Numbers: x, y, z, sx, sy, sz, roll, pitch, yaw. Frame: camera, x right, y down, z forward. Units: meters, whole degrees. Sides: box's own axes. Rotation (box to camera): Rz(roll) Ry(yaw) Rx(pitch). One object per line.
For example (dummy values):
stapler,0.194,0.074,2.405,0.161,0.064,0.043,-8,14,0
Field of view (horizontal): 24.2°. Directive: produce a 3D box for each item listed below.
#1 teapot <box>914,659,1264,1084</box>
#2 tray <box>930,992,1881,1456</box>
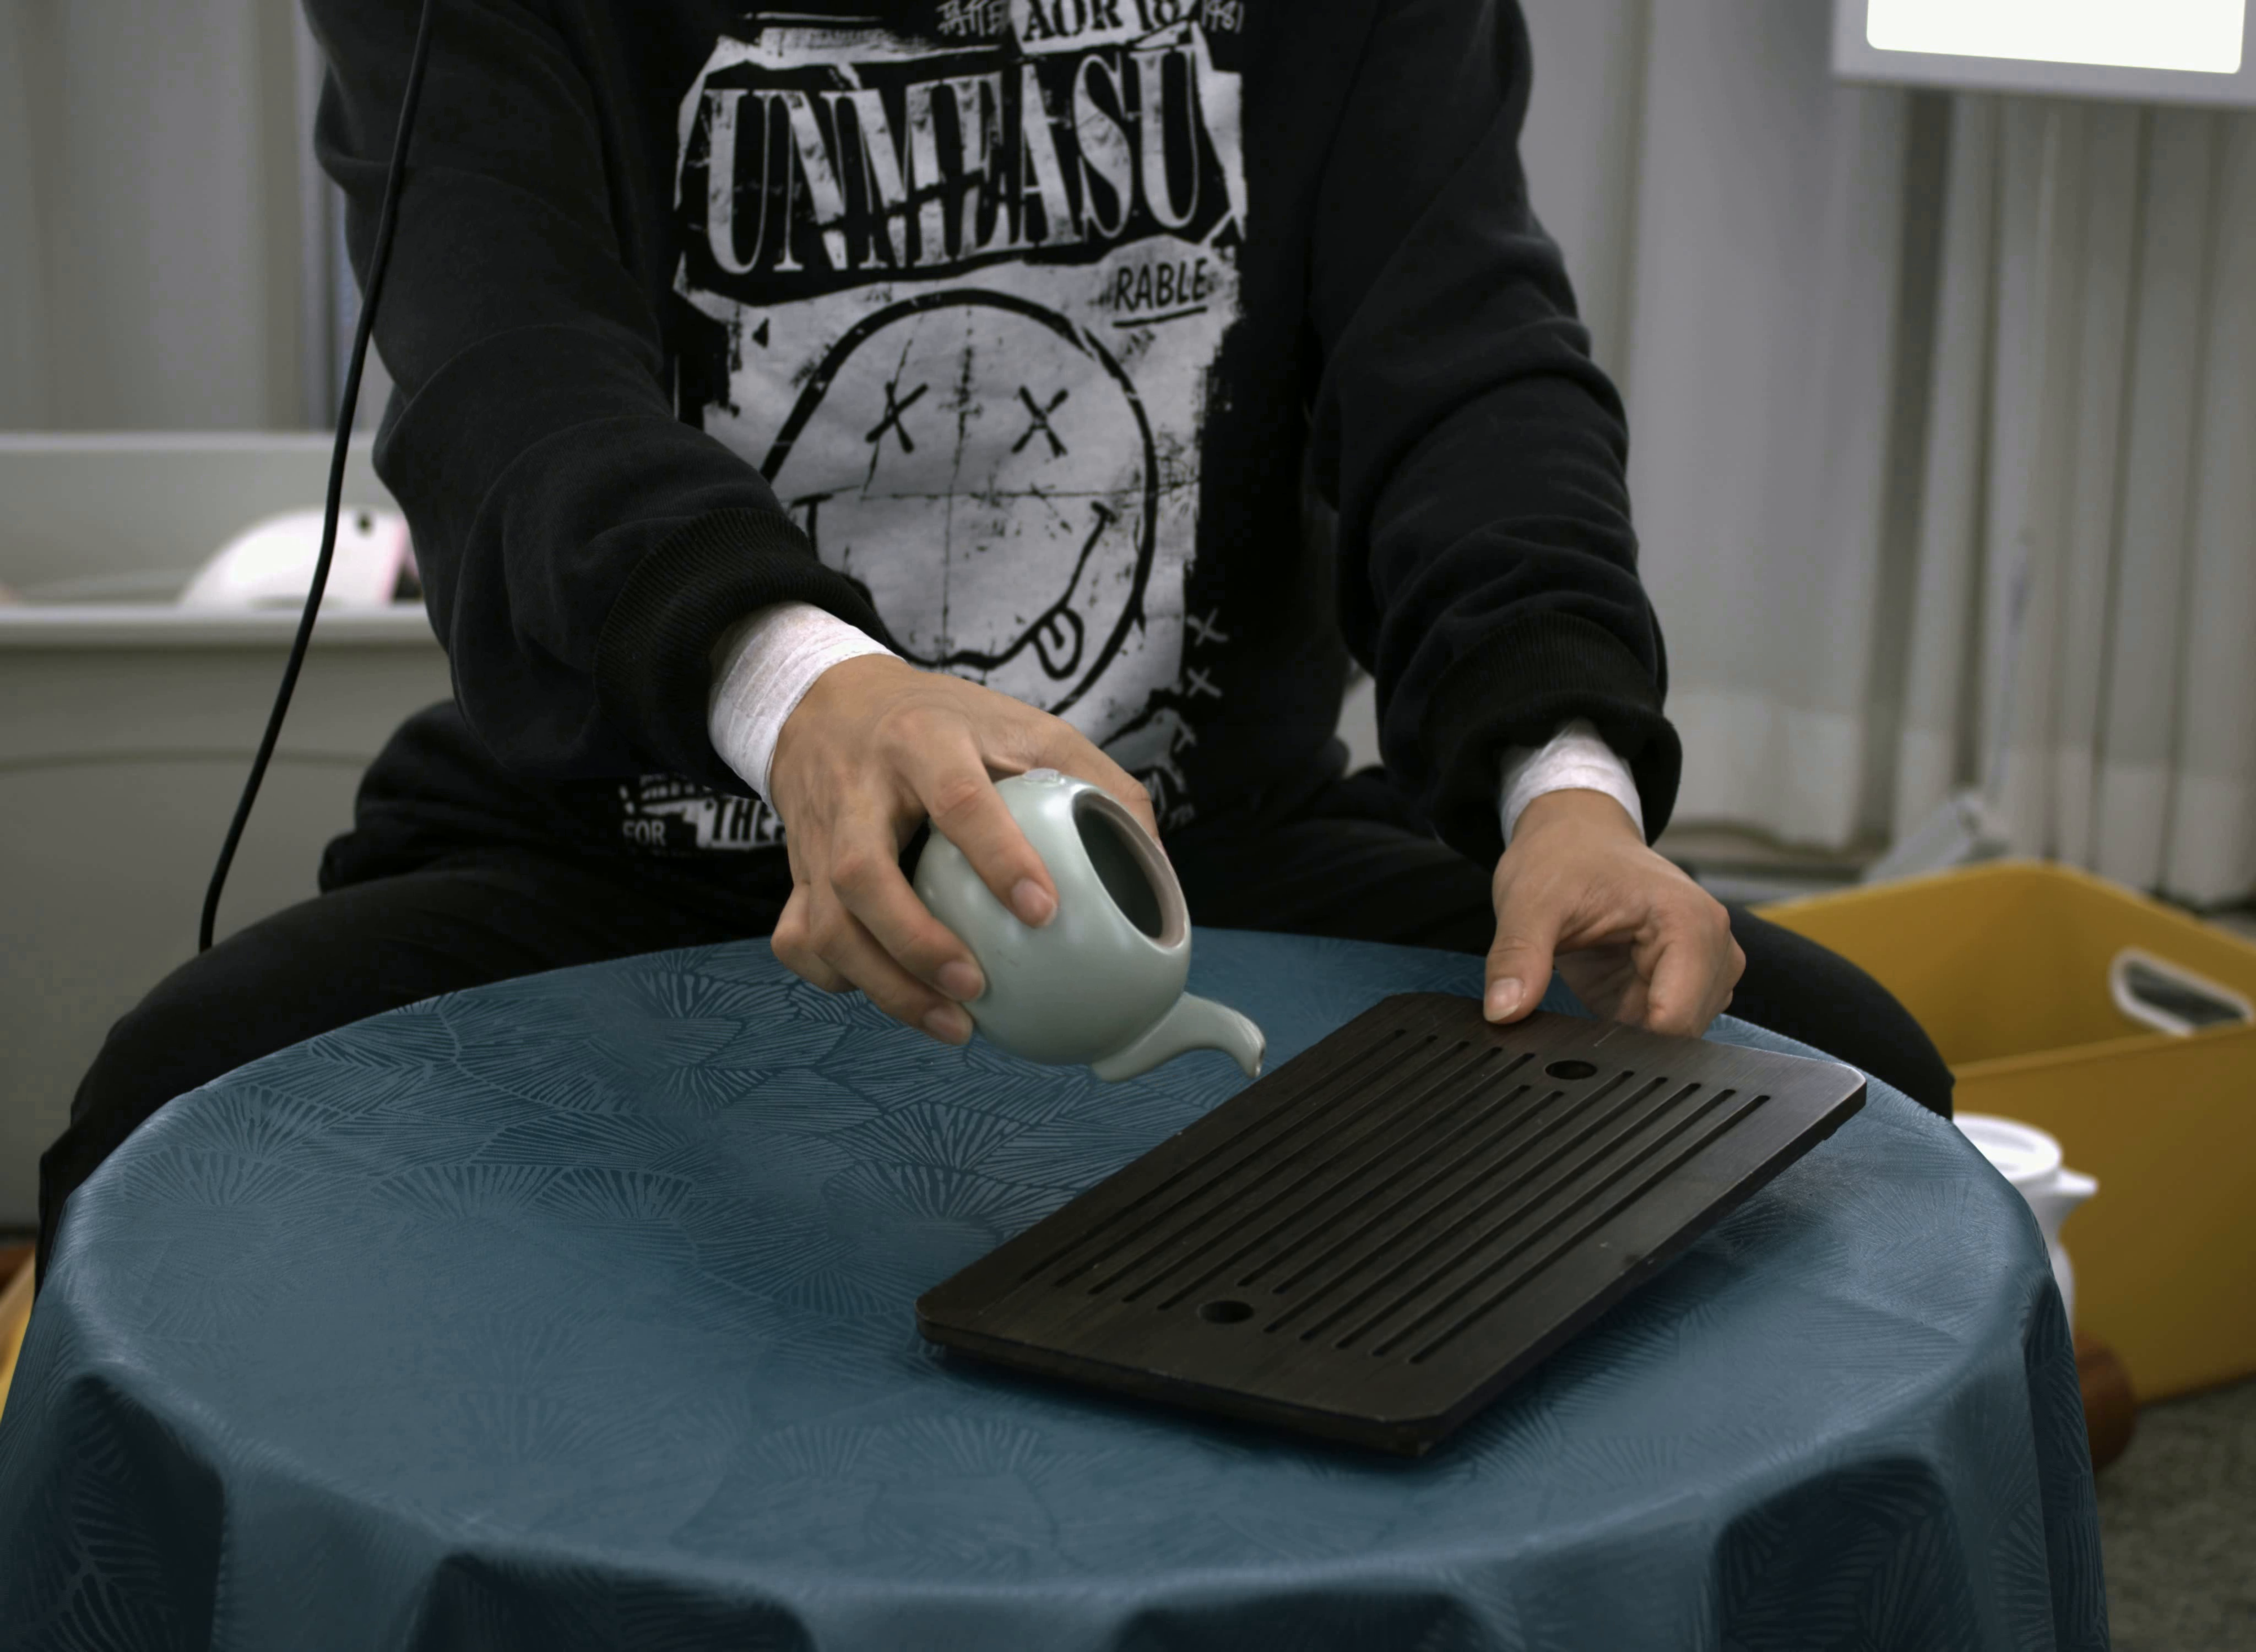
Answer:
teapot,-0.021,0.026,1.556,0.074,0.144,0.088,-28,3,20
tray,0.089,0.114,1.560,0.168,0.019,0.307,9,21,30
